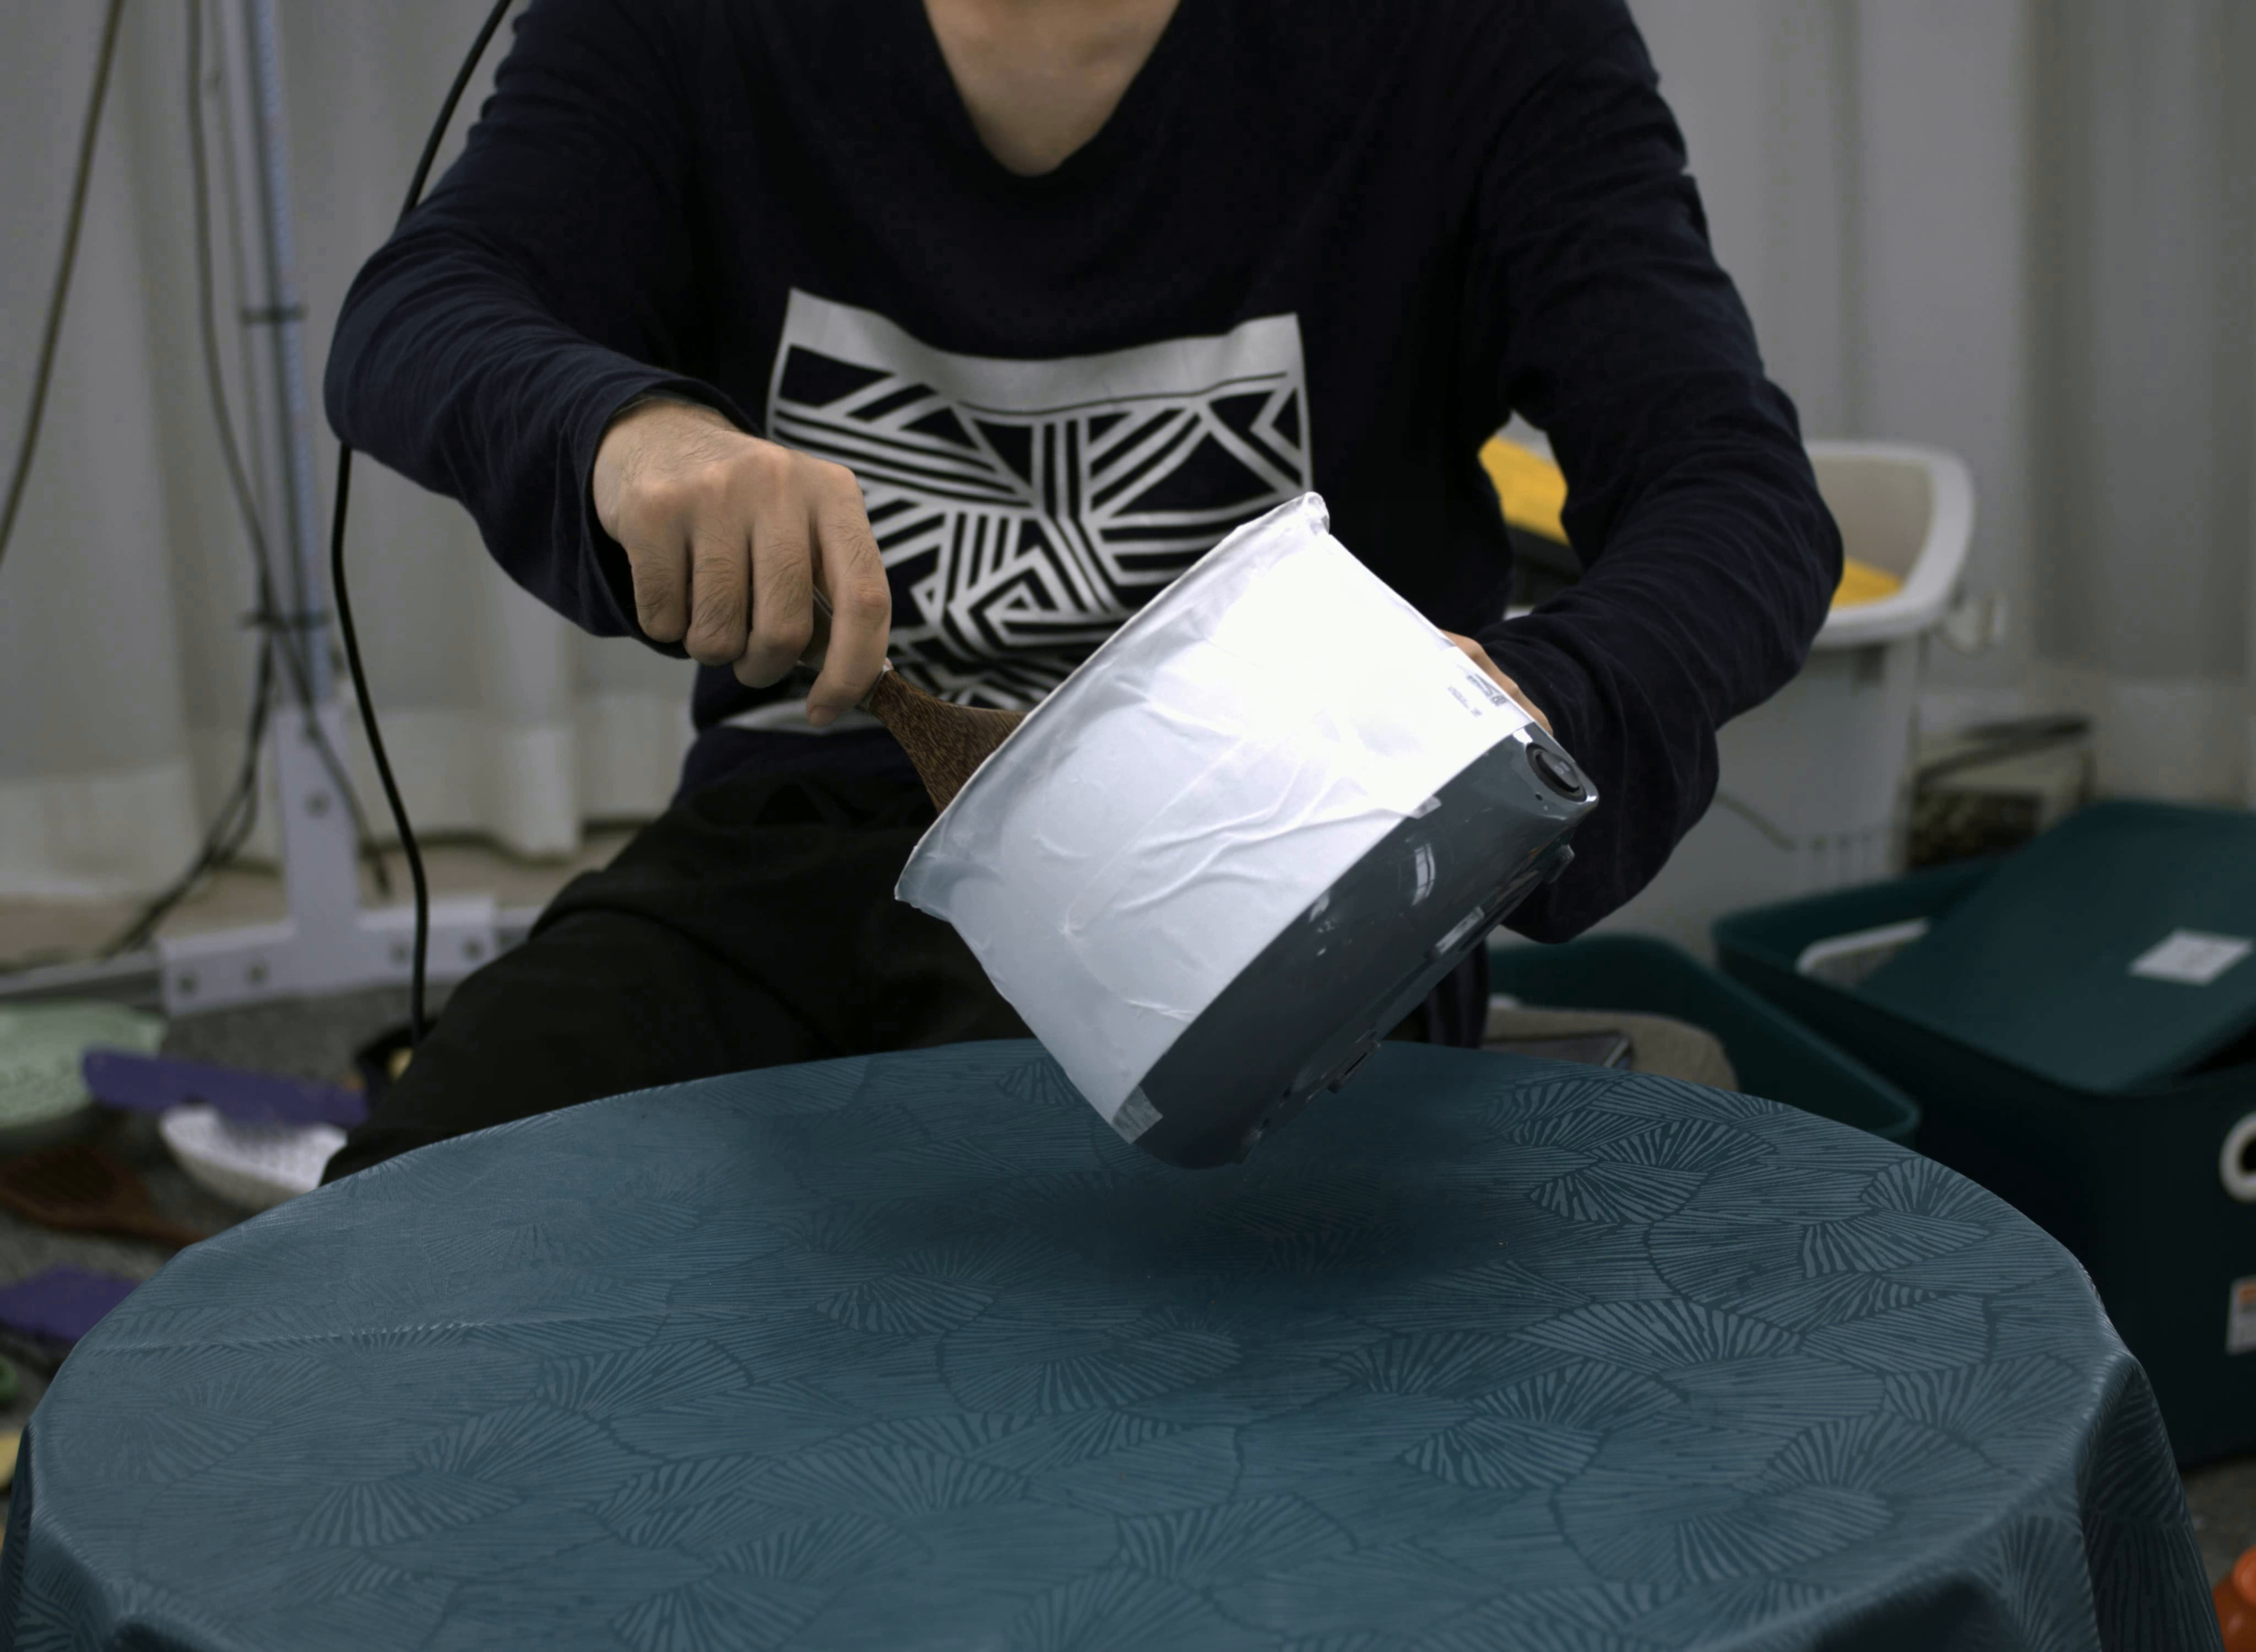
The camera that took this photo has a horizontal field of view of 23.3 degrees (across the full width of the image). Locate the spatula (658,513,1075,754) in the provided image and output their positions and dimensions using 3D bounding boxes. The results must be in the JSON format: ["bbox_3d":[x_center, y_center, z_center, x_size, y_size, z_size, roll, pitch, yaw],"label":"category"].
[{"bbox_3d":[-0.071,-0.049,1.708,0.217,0.071,0.009,29,62,32],"label":"spatula"}]

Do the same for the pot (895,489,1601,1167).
[{"bbox_3d":[0.047,0.000,1.676,0.178,0.137,0.234,-44,-6,22],"label":"pot"}]
